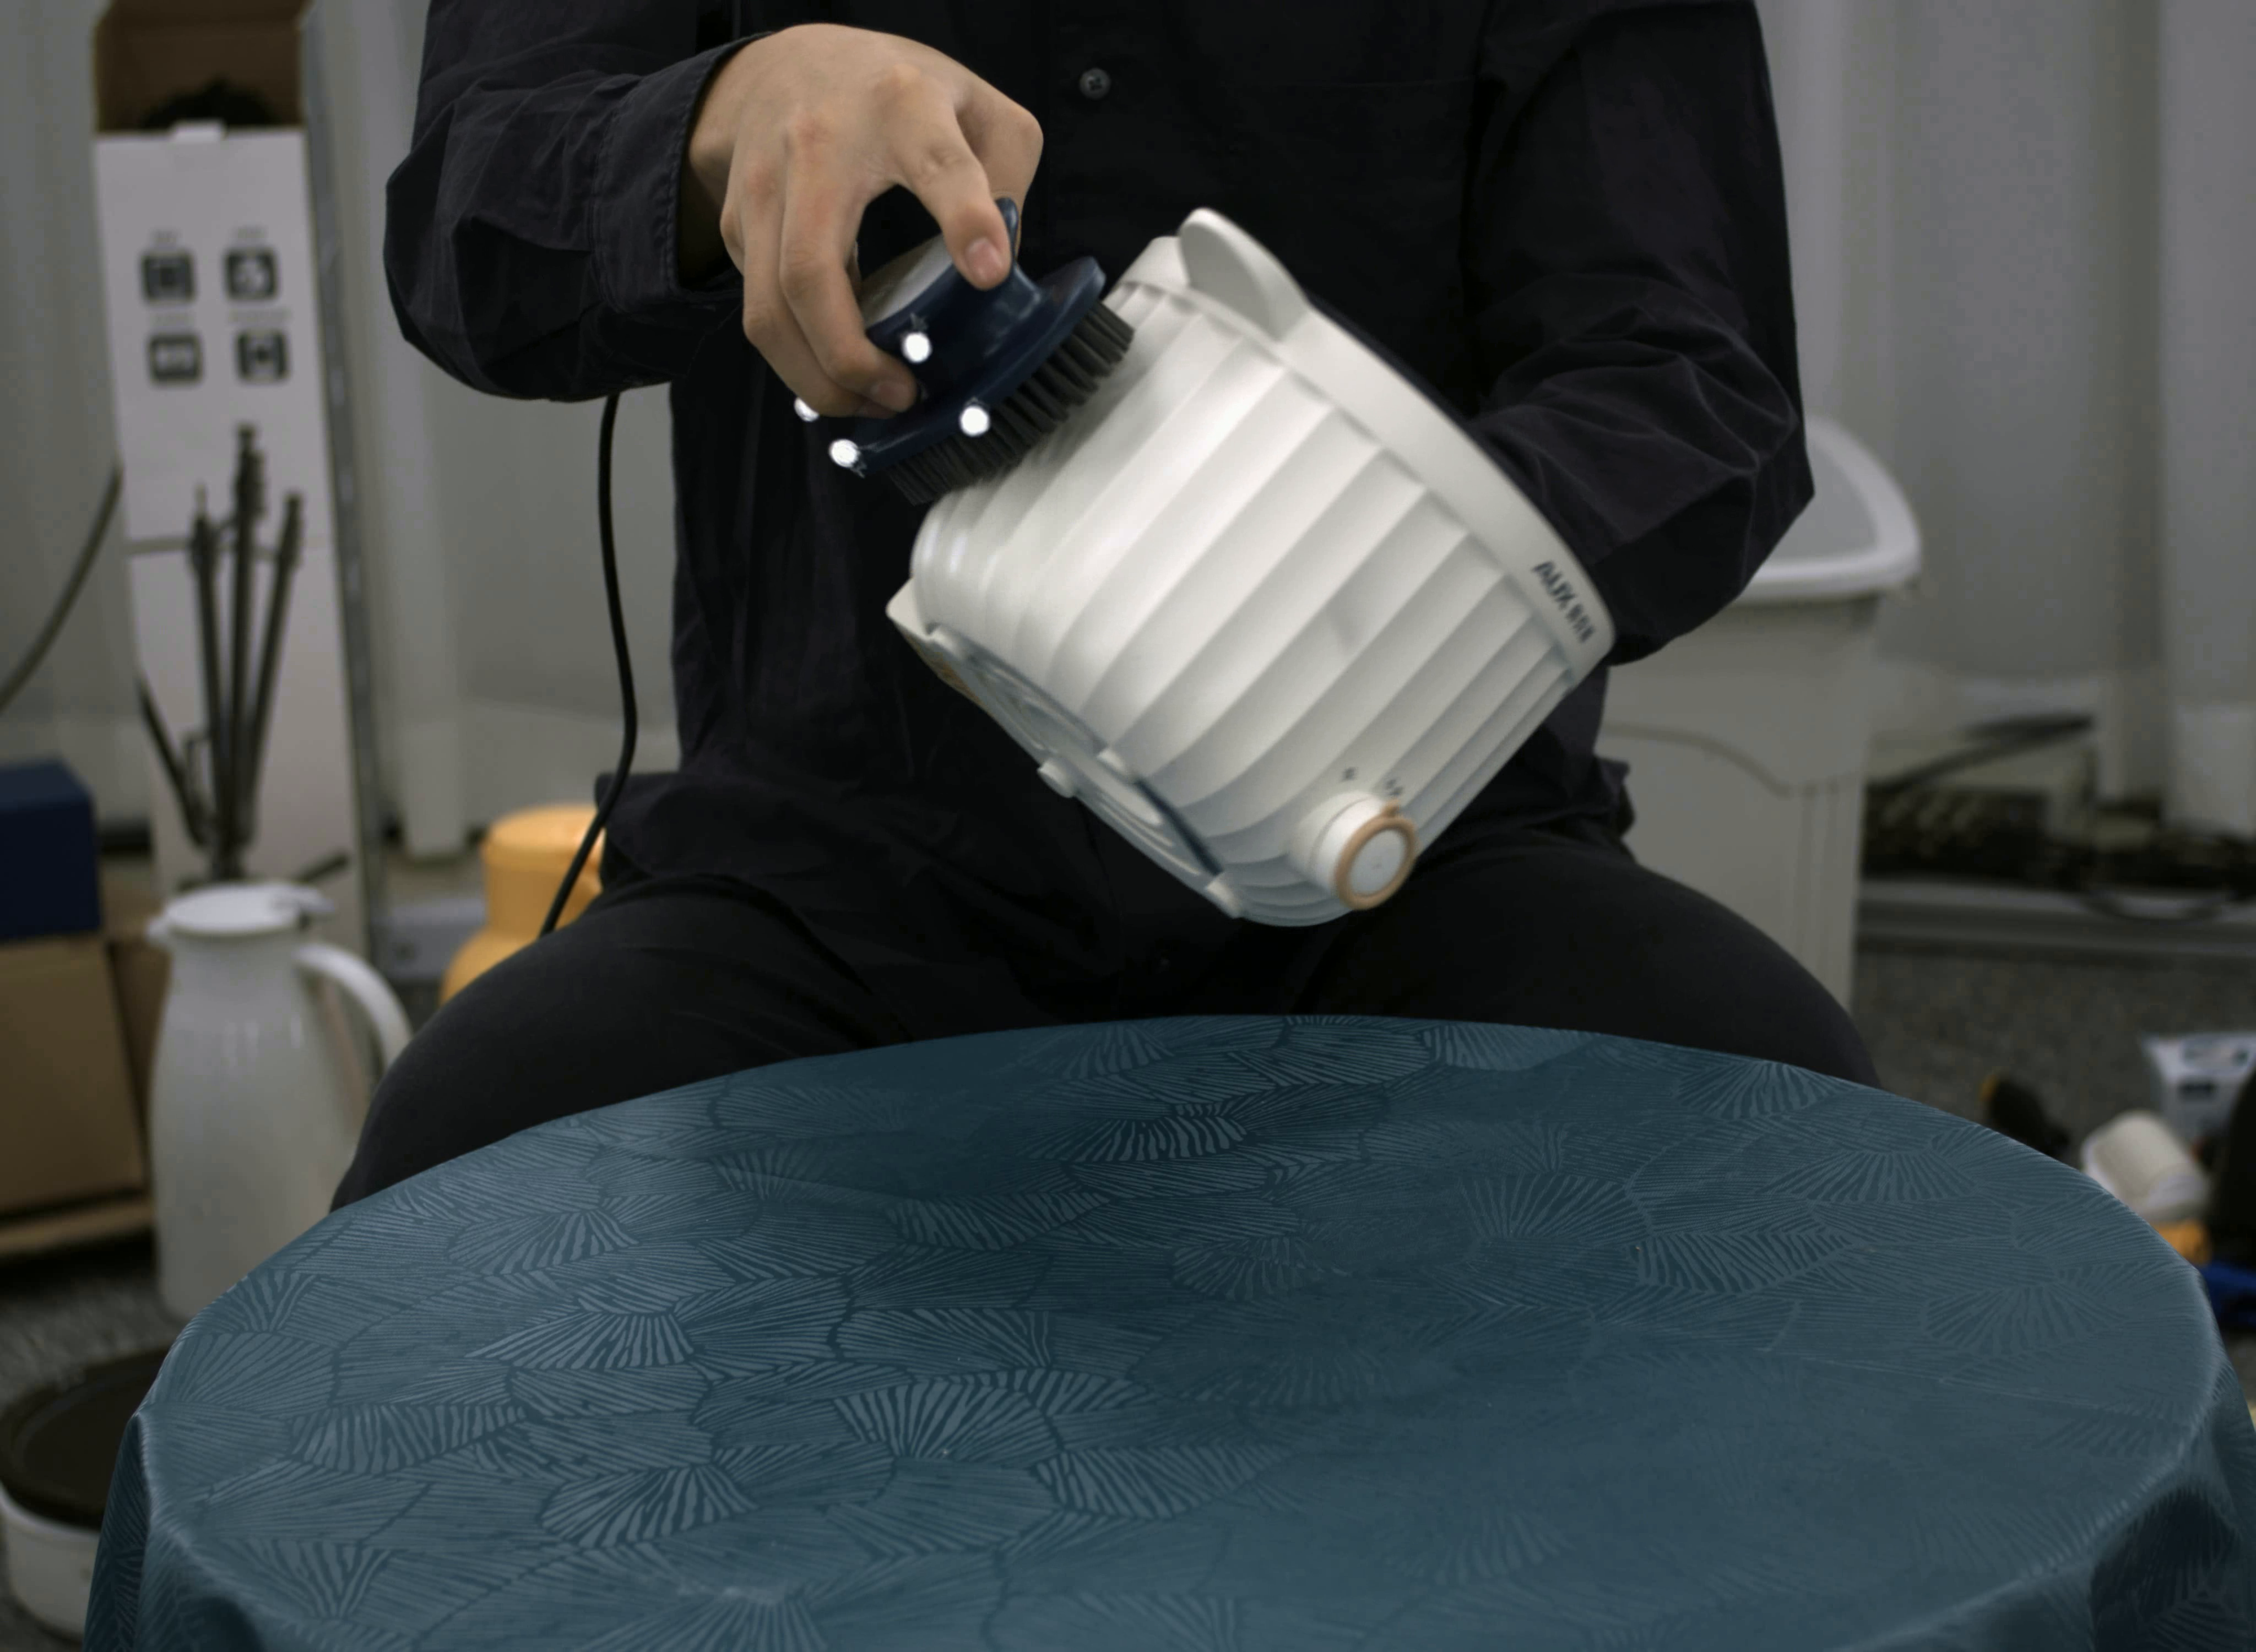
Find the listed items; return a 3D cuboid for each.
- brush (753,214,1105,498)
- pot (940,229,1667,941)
[{"bbox_3d":[-0.056,-0.133,1.580,0.068,0.060,0.122,-54,23,-20],"label":"brush"},{"bbox_3d":[0.052,-0.057,1.618,0.192,0.143,0.237,32,-12,37],"label":"pot"}]
